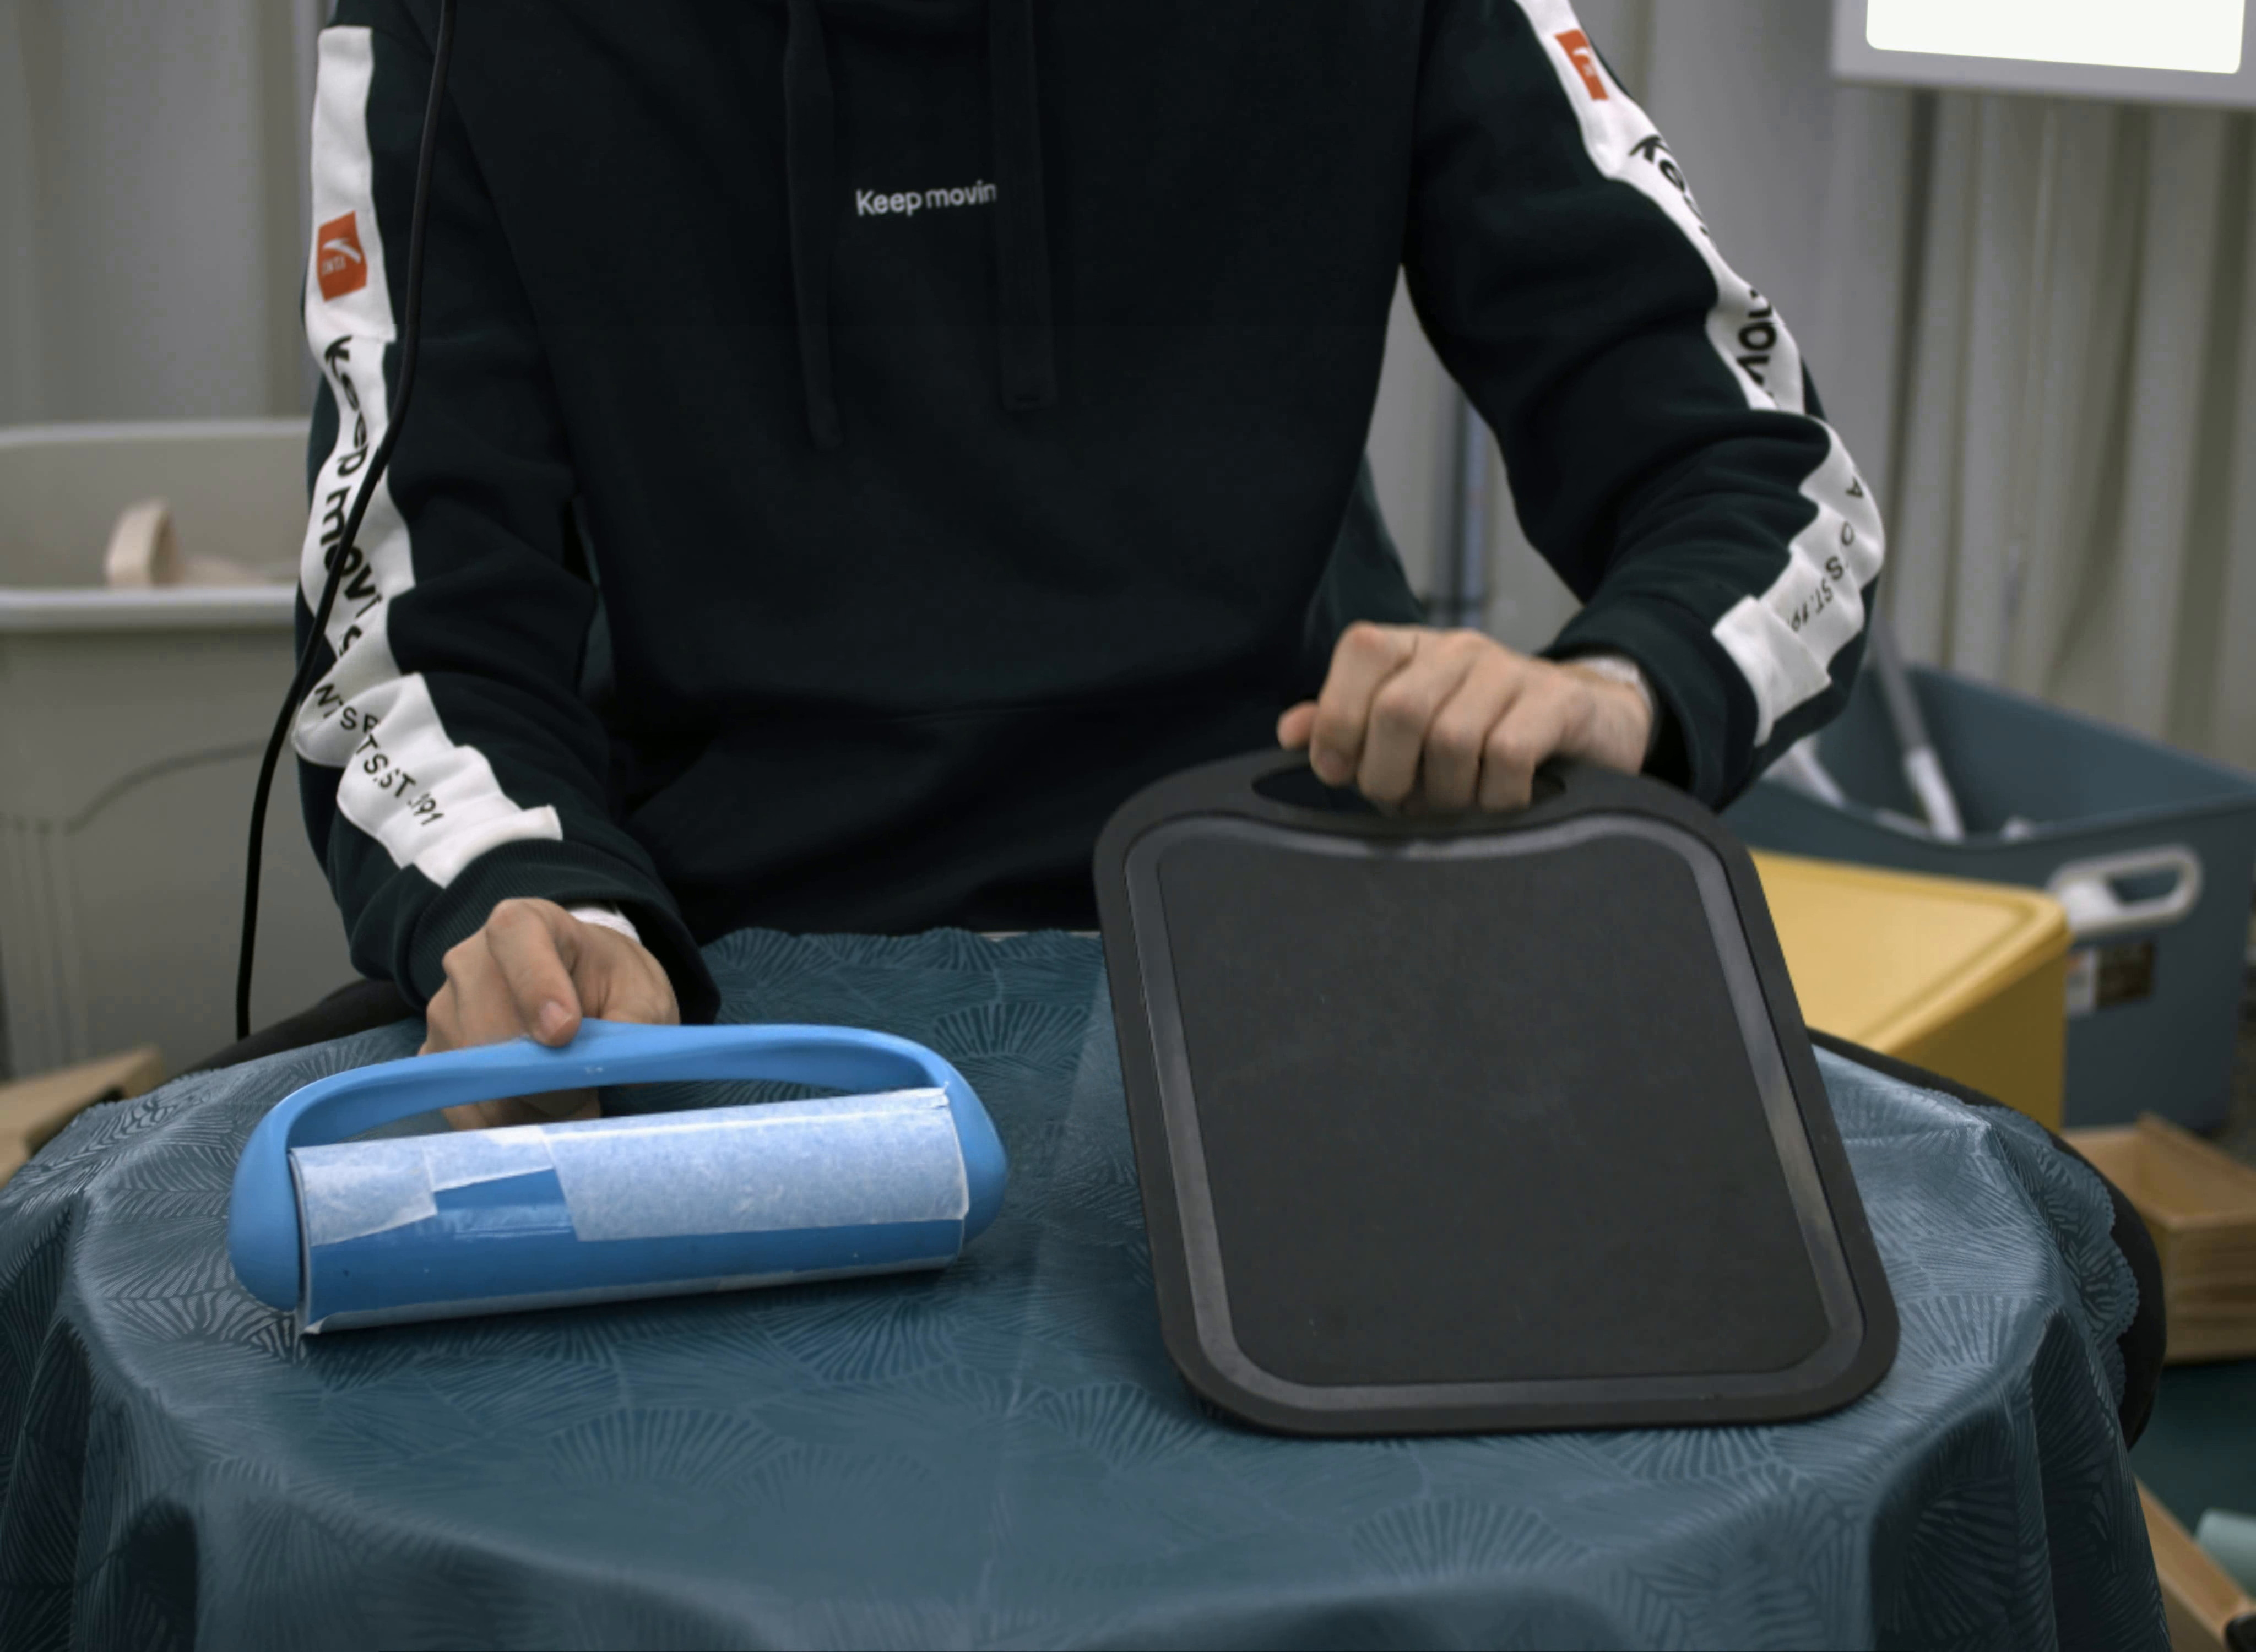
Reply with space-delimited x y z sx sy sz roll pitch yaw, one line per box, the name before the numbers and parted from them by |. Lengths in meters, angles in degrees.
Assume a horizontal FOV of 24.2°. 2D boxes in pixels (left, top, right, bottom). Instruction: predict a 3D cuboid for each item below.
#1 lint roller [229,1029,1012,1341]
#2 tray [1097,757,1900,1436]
lint roller | -0.164 0.092 1.572 0.229 0.068 0.178 -7 21 -18
tray | 0.102 0.070 1.558 0.211 0.010 0.322 0 35 -6
